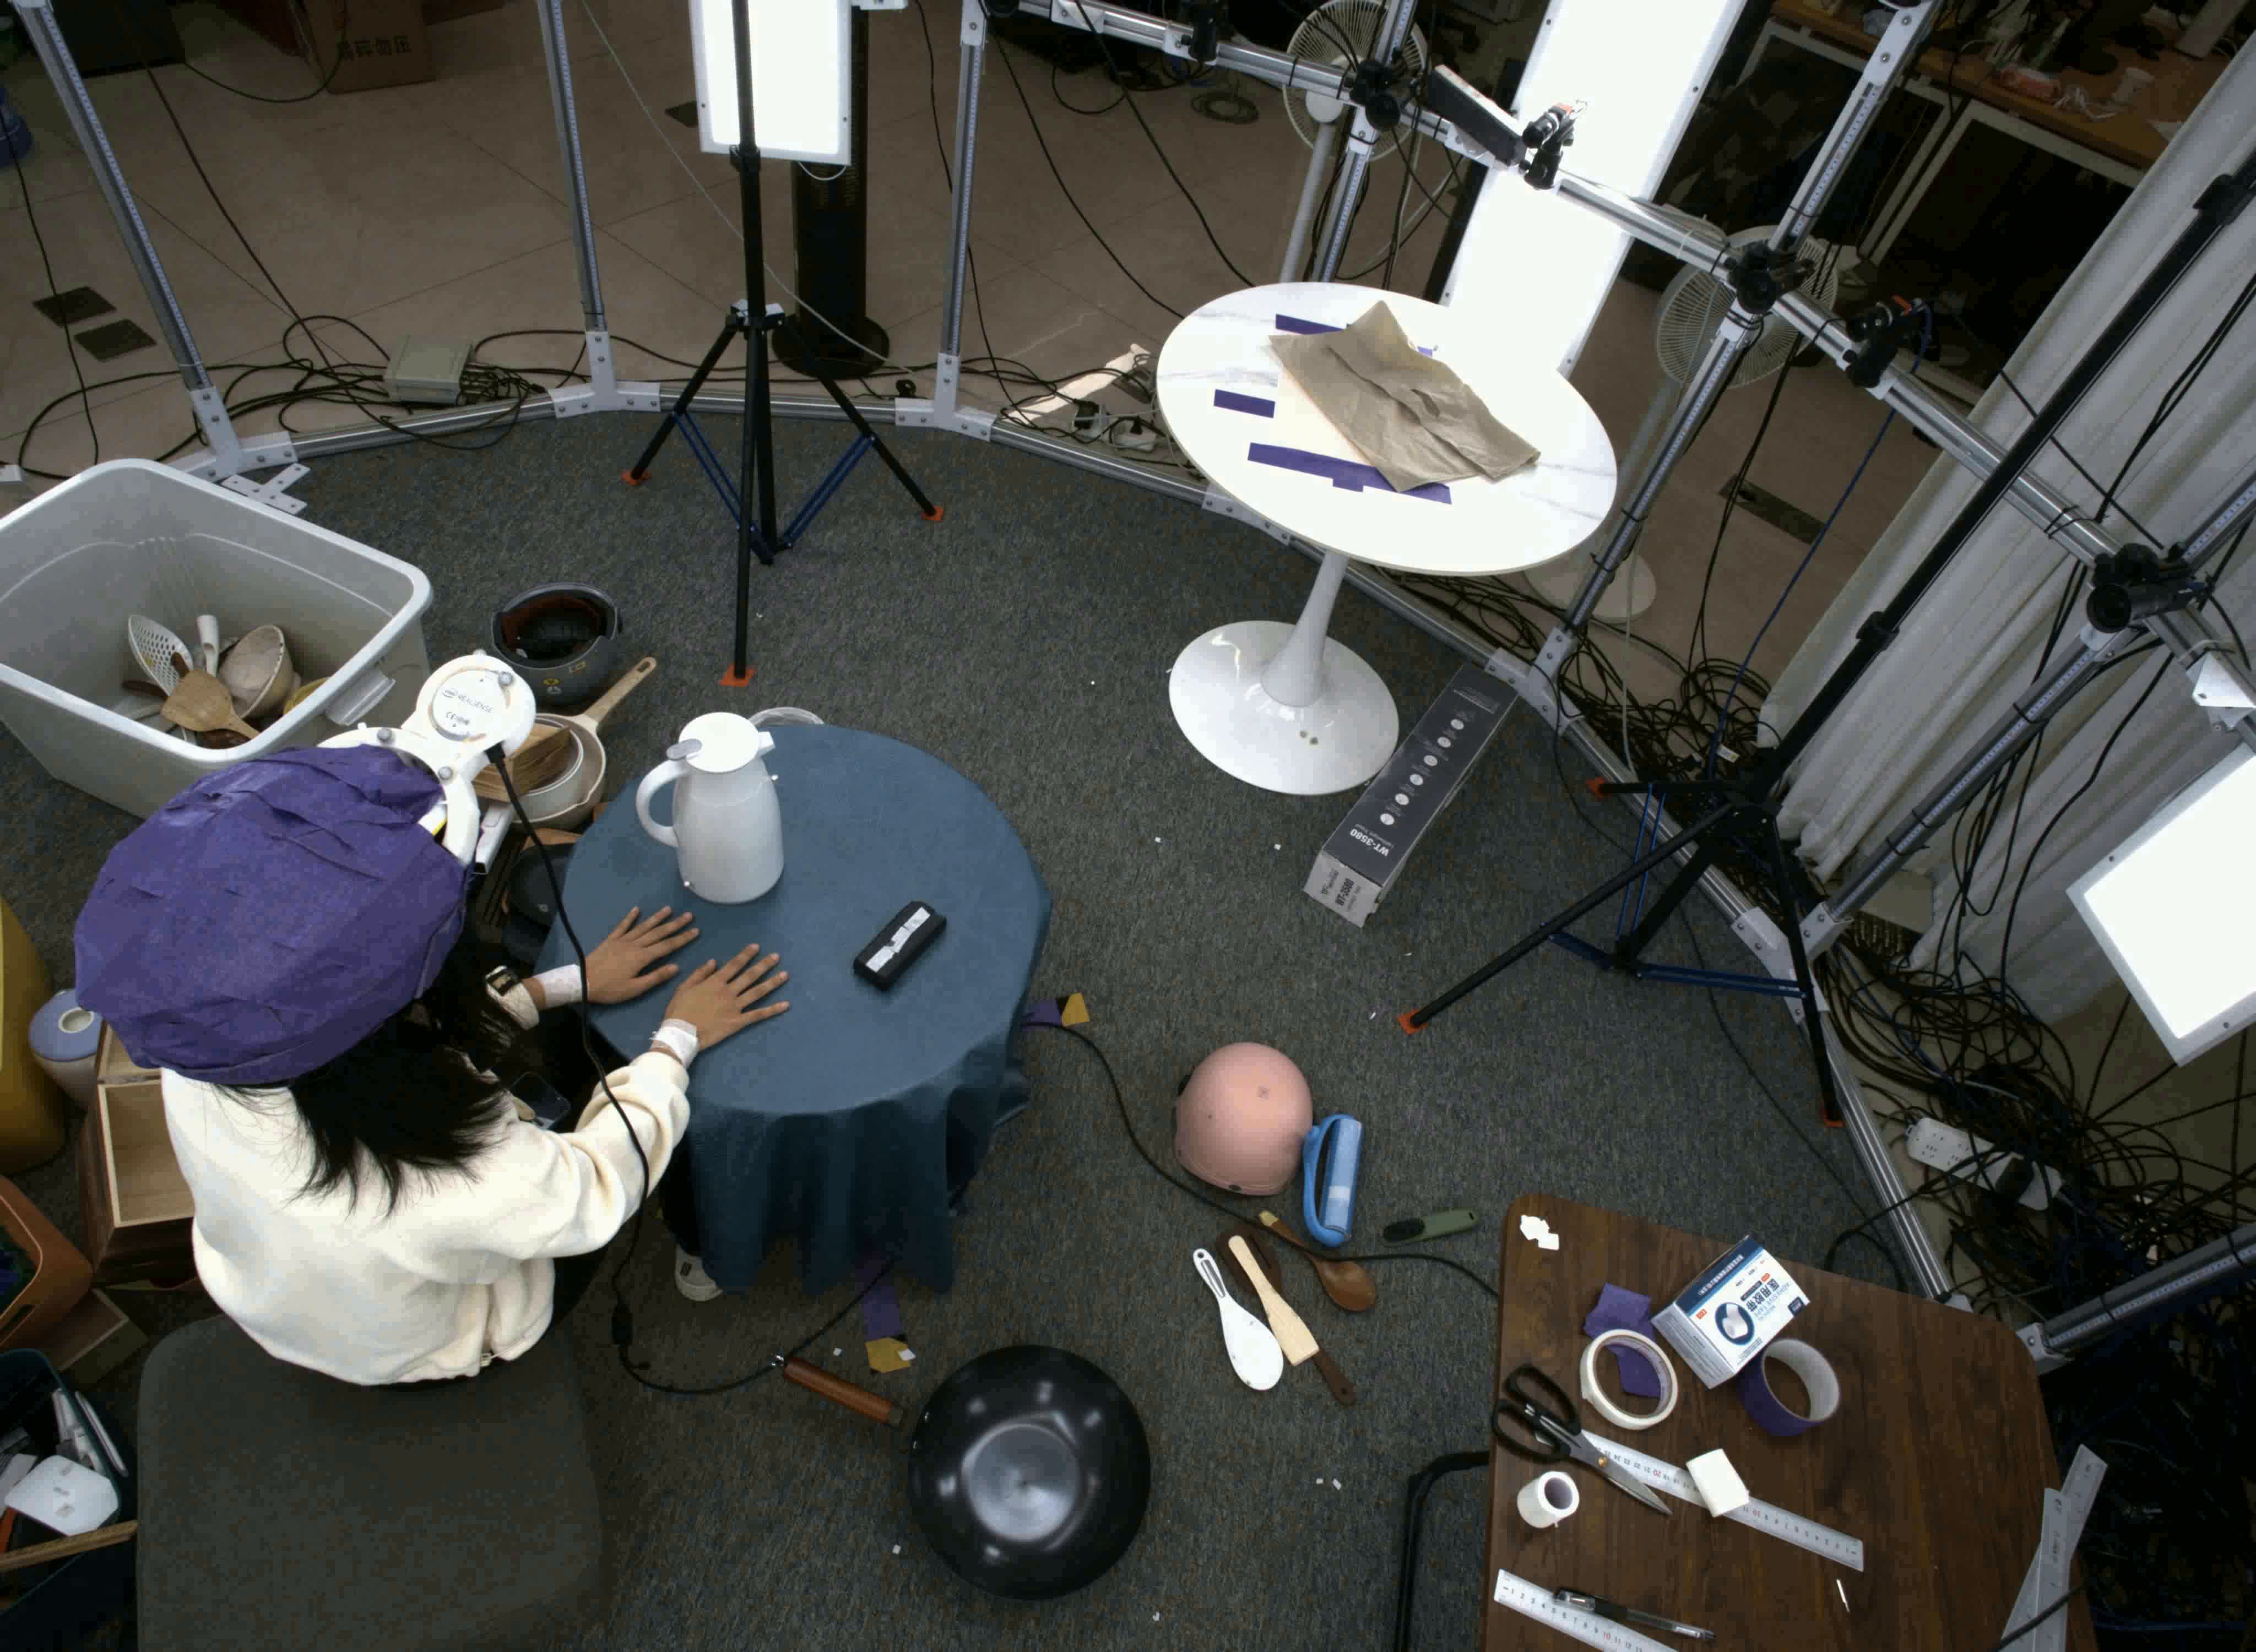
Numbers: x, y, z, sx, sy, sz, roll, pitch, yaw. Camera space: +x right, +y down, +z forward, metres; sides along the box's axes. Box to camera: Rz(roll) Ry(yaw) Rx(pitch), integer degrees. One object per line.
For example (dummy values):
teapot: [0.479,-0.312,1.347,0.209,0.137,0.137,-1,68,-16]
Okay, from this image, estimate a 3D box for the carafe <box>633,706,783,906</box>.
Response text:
carafe: [-0.508,-0.024,1.554,0.168,0.254,0.129,-19,58,-24]

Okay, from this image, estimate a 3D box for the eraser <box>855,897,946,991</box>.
eraser: [-0.284,0.144,1.629,0.052,0.031,0.125,30,52,11]
